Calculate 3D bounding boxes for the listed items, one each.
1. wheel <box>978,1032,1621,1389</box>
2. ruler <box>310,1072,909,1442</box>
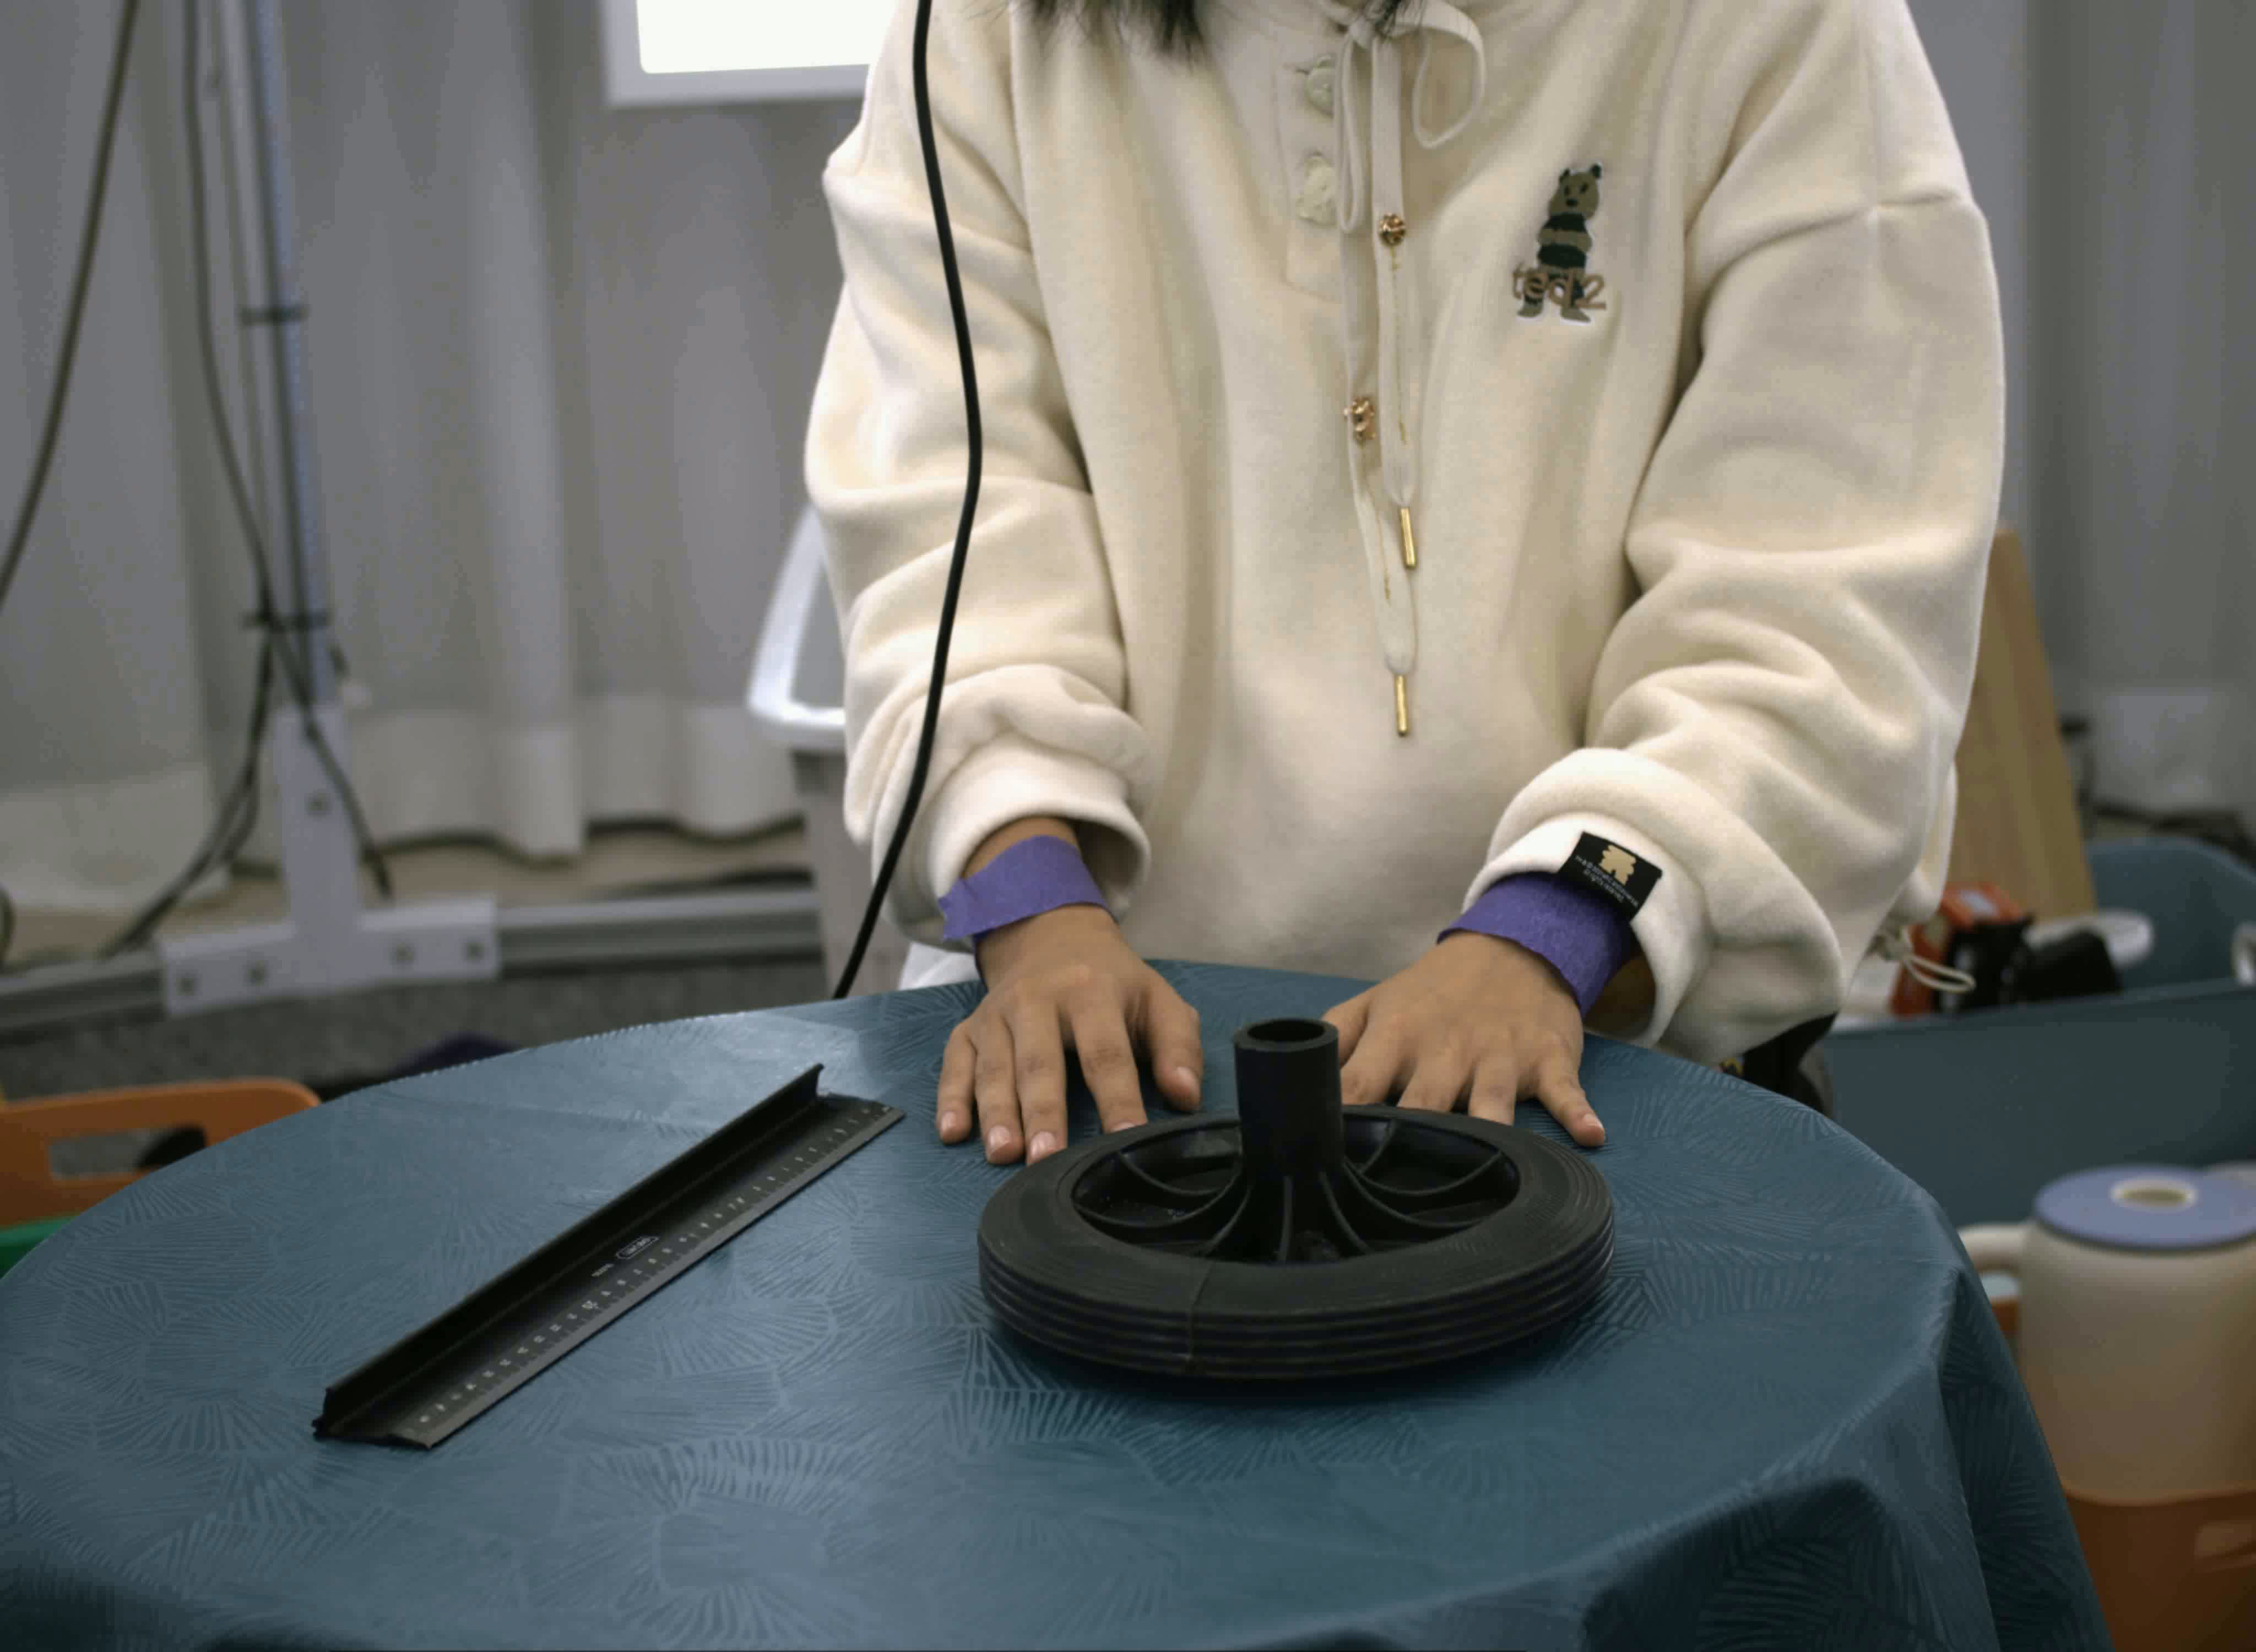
[{"bbox_3d":[0.049,0.103,1.602,0.187,0.079,0.191,-12,18,-32],"label":"wheel"},{"bbox_3d":[-0.151,0.127,1.667,0.039,0.017,0.313,7,17,23],"label":"ruler"}]
